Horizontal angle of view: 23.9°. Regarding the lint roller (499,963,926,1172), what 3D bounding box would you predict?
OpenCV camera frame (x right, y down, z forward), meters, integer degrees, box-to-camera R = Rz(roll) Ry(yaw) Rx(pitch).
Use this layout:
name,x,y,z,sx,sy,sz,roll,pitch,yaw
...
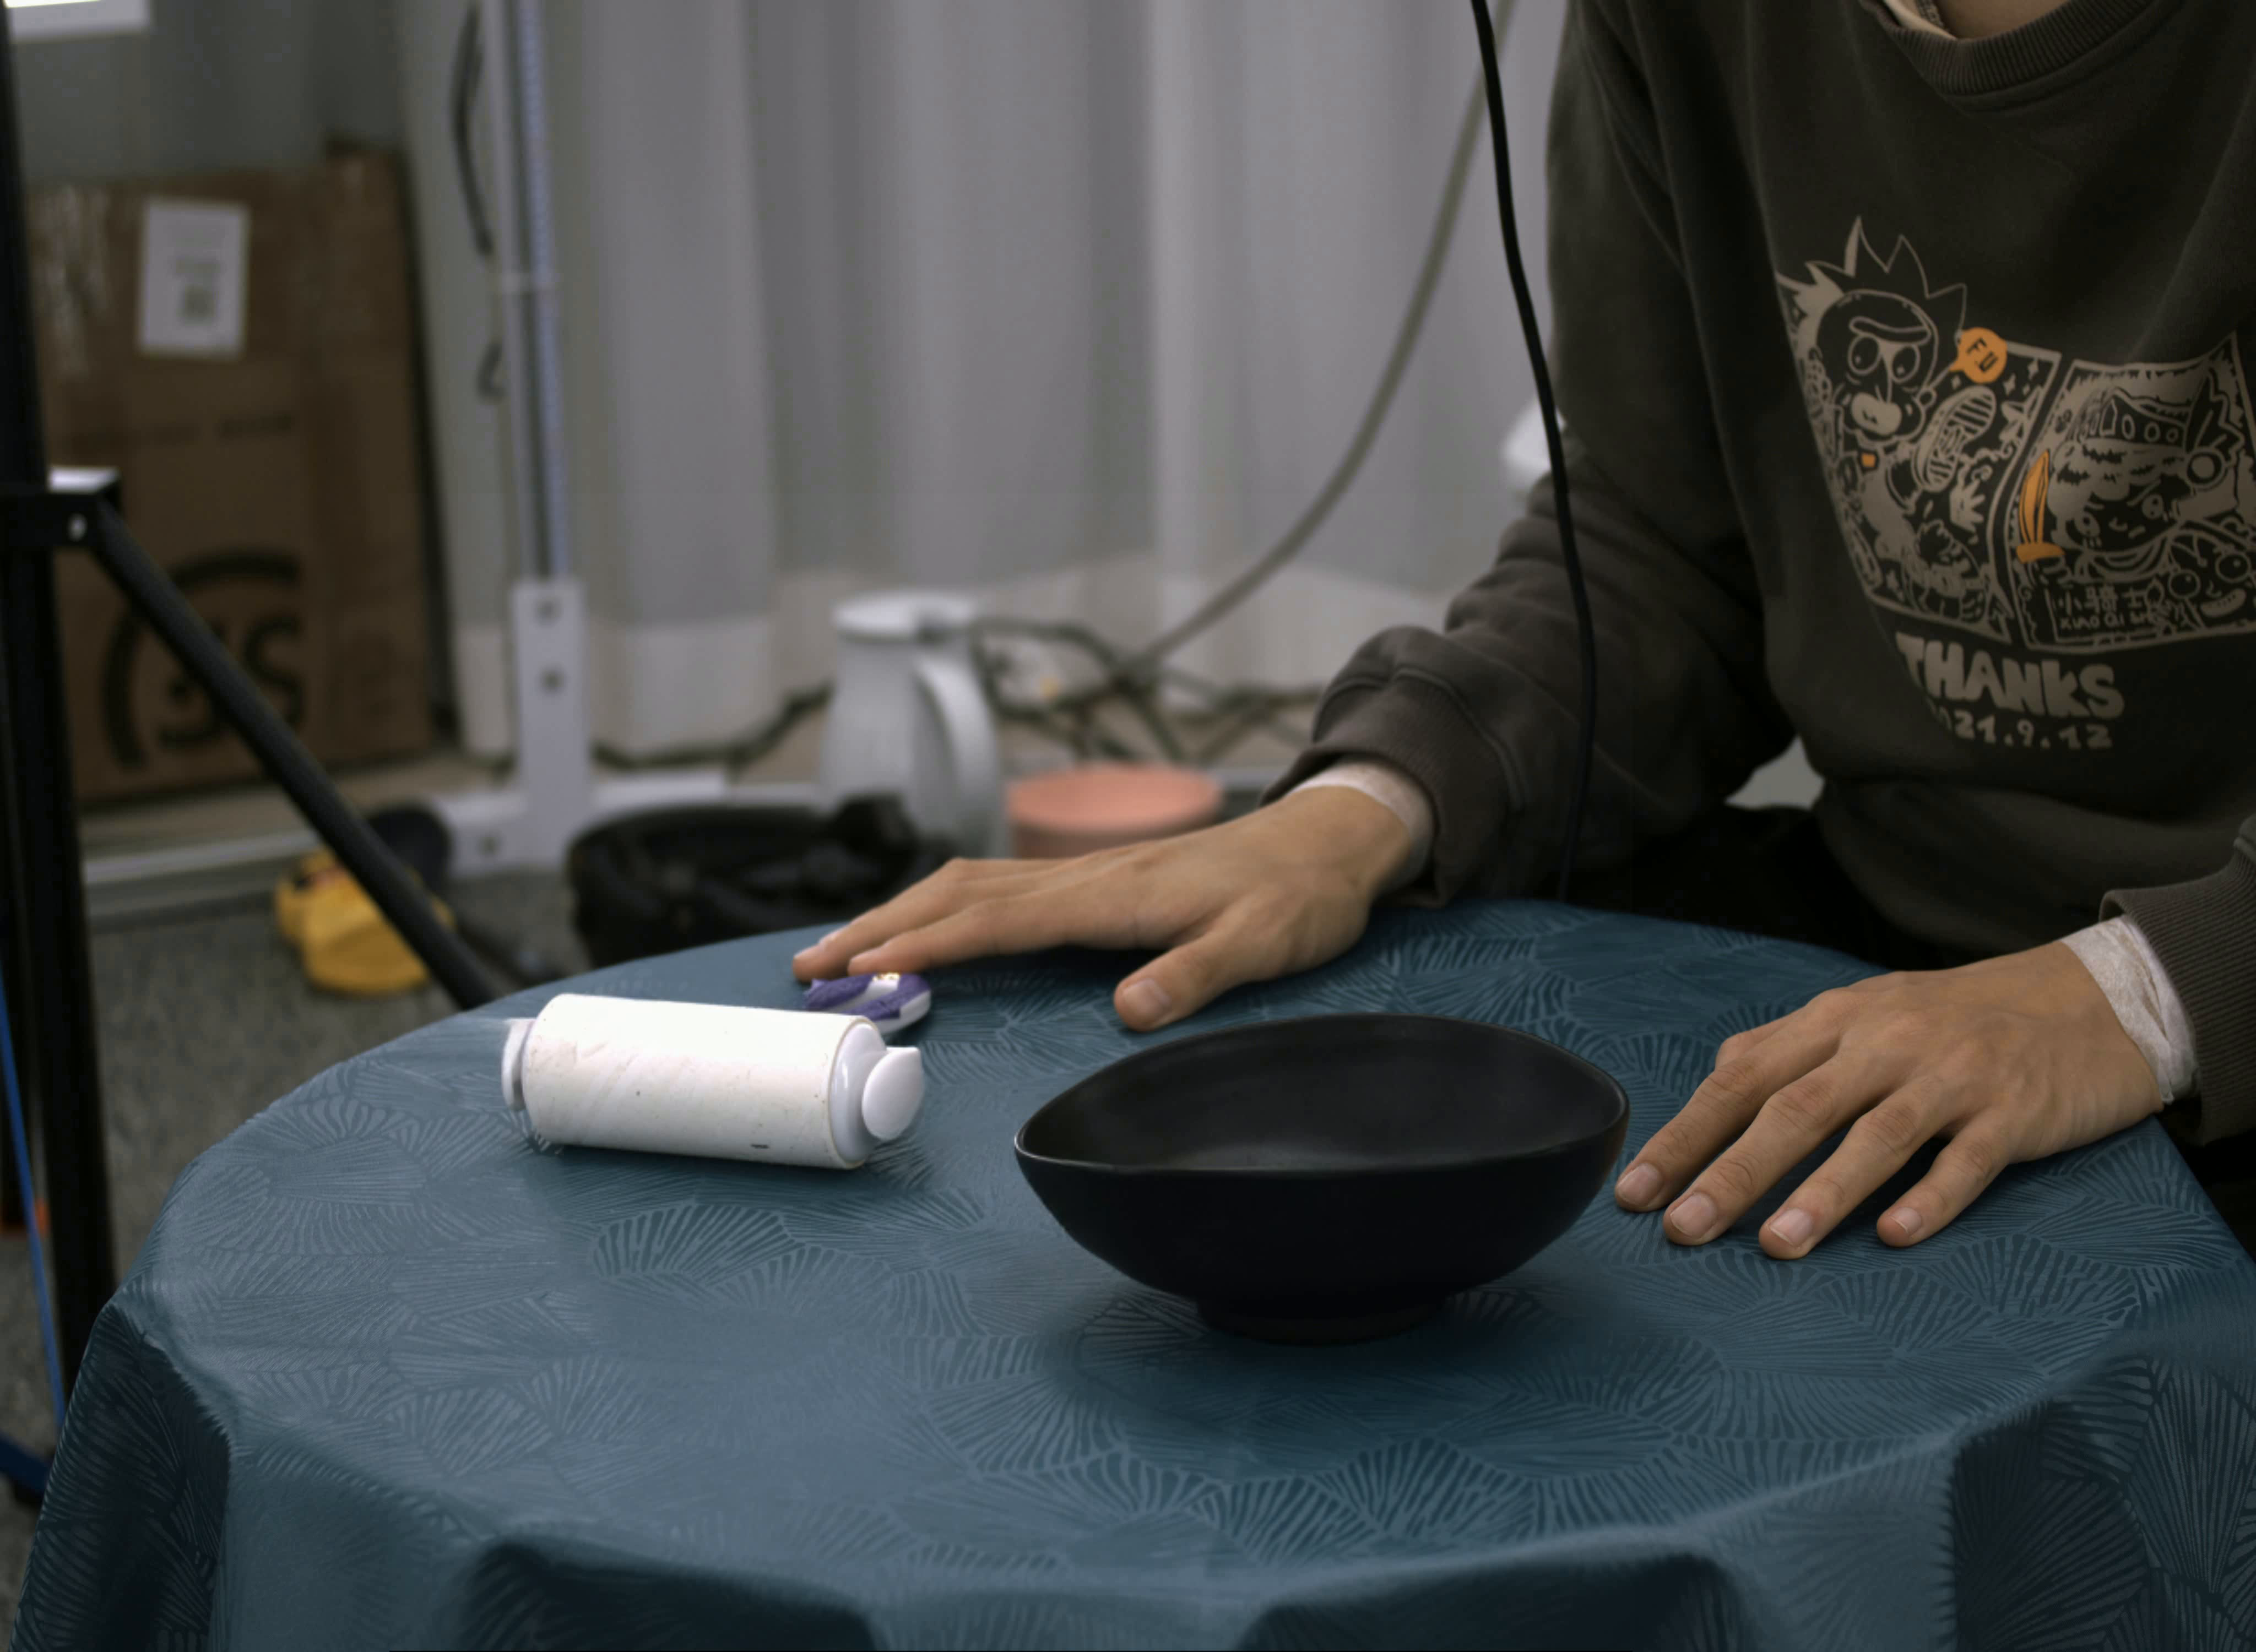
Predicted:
name,x,y,z,sx,sy,sz,roll,pitch,yaw
lint roller,-0.104,0.058,1.668,0.135,0.050,0.178,3,19,23

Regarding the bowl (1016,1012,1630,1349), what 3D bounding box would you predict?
name,x,y,z,sx,sy,sz,roll,pitch,yaw
bowl,0.054,0.103,1.457,0.170,0.067,0.137,-2,14,8
